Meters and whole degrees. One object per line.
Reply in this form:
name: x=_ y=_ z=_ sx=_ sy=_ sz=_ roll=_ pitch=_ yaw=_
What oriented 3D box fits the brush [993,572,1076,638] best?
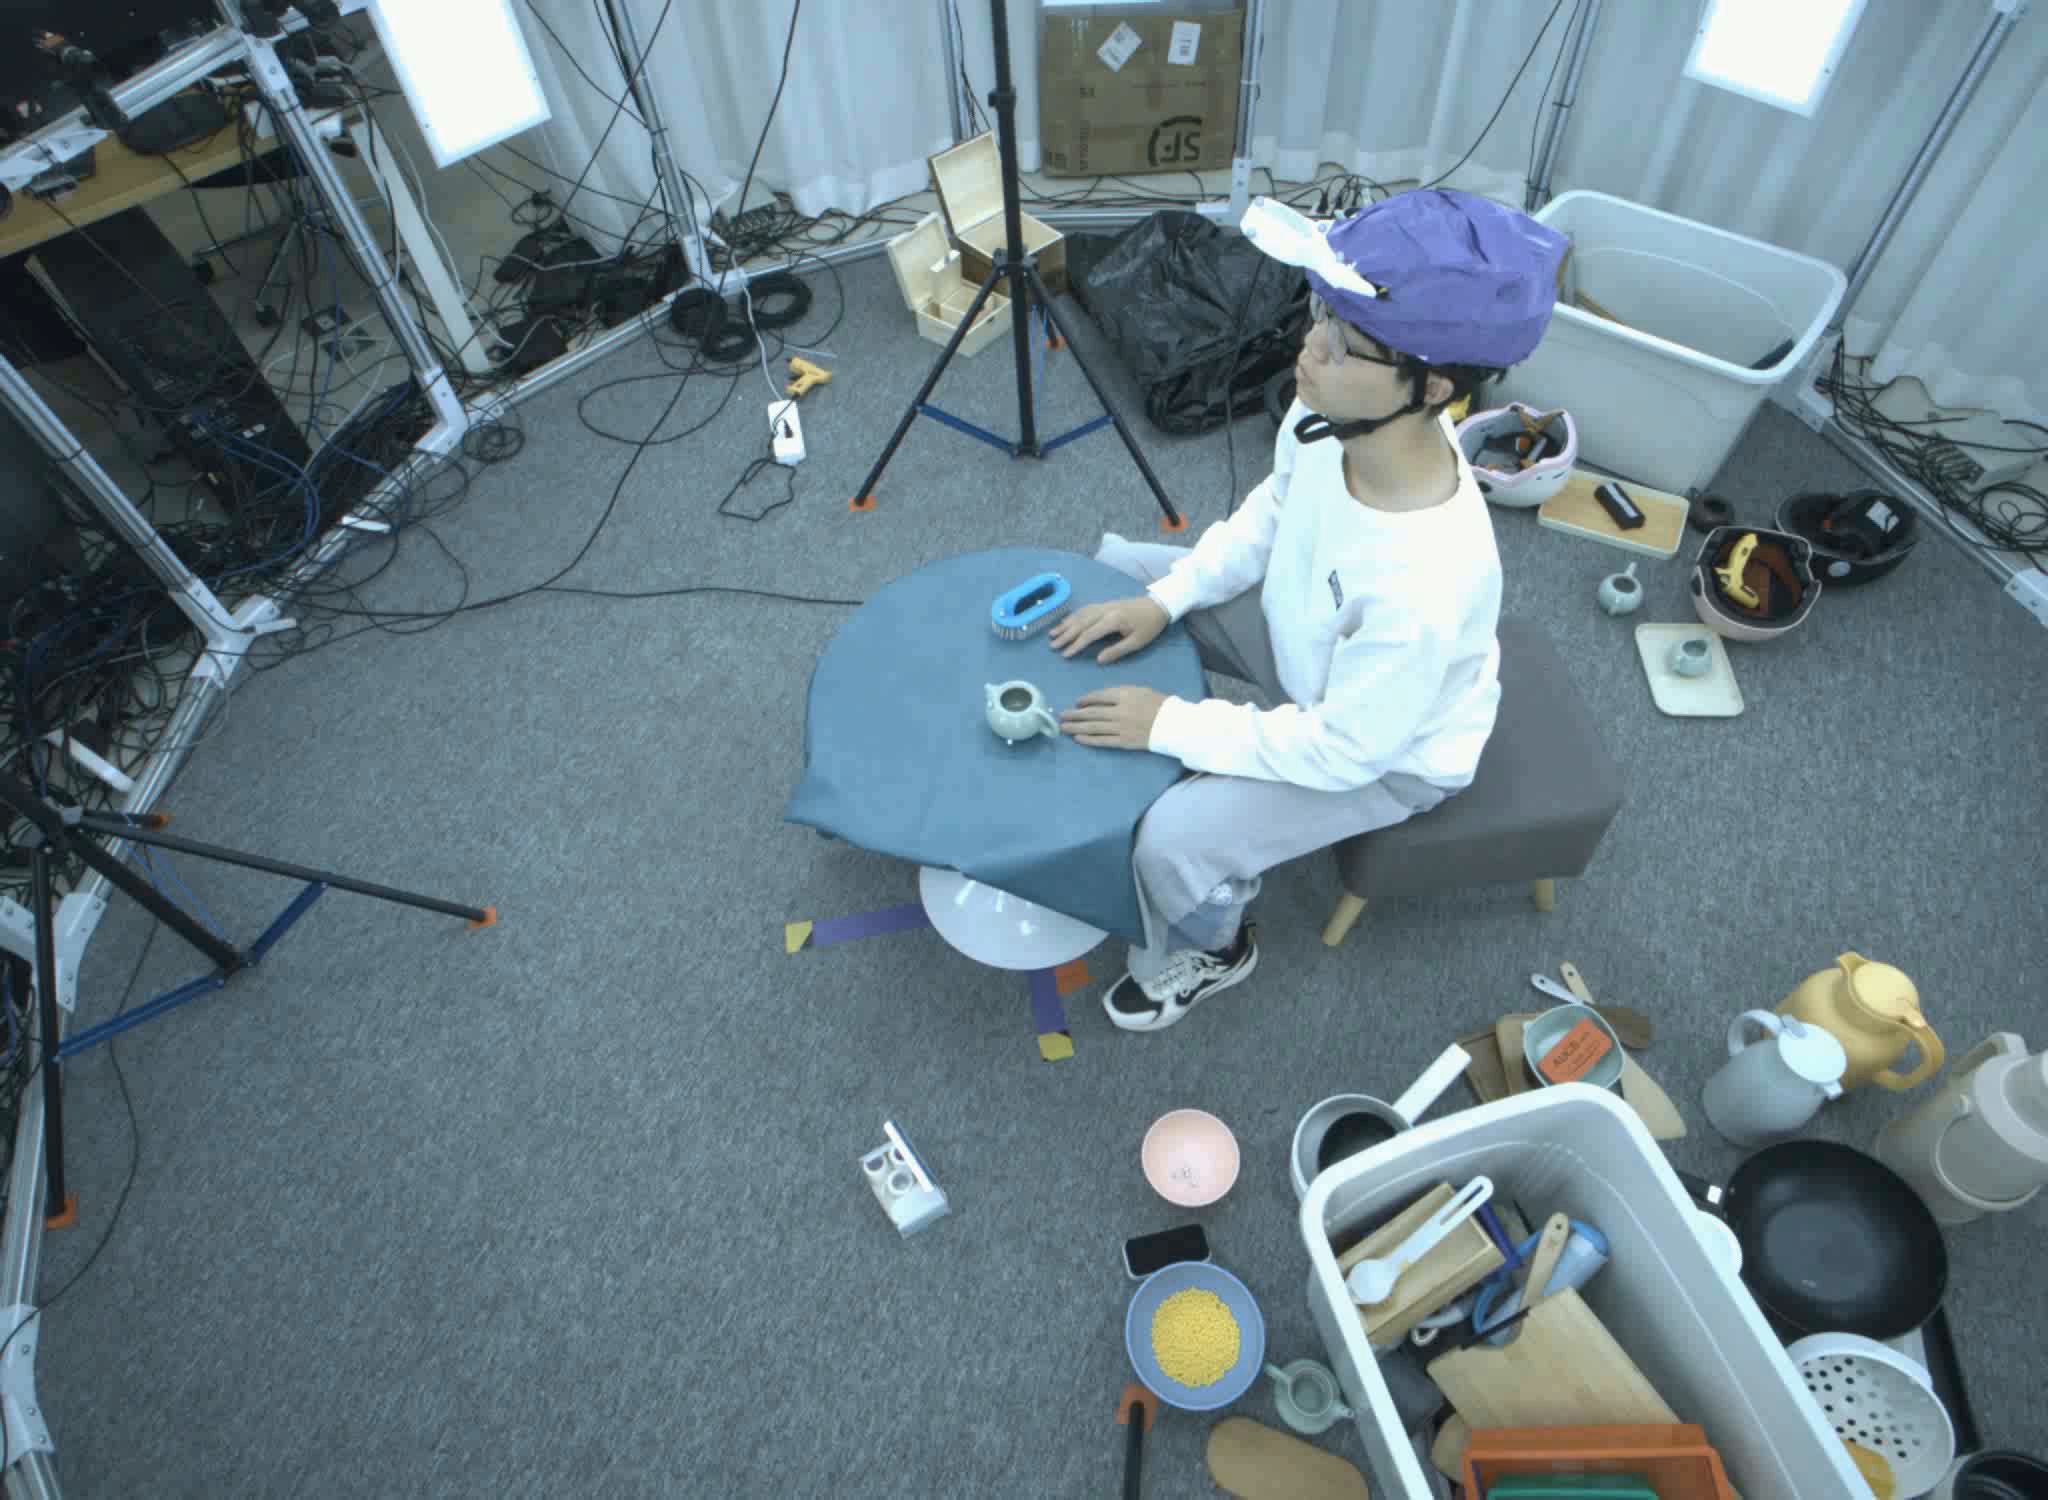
brush: x=0.012 y=-0.237 z=1.914 sx=0.143 sy=0.064 sz=0.082 roll=-31 pitch=53 yaw=-19

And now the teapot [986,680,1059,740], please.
teapot: x=-0.002 y=-0.054 z=1.787 sx=0.126 sy=0.061 sz=0.092 roll=32 pitch=59 yaw=20
